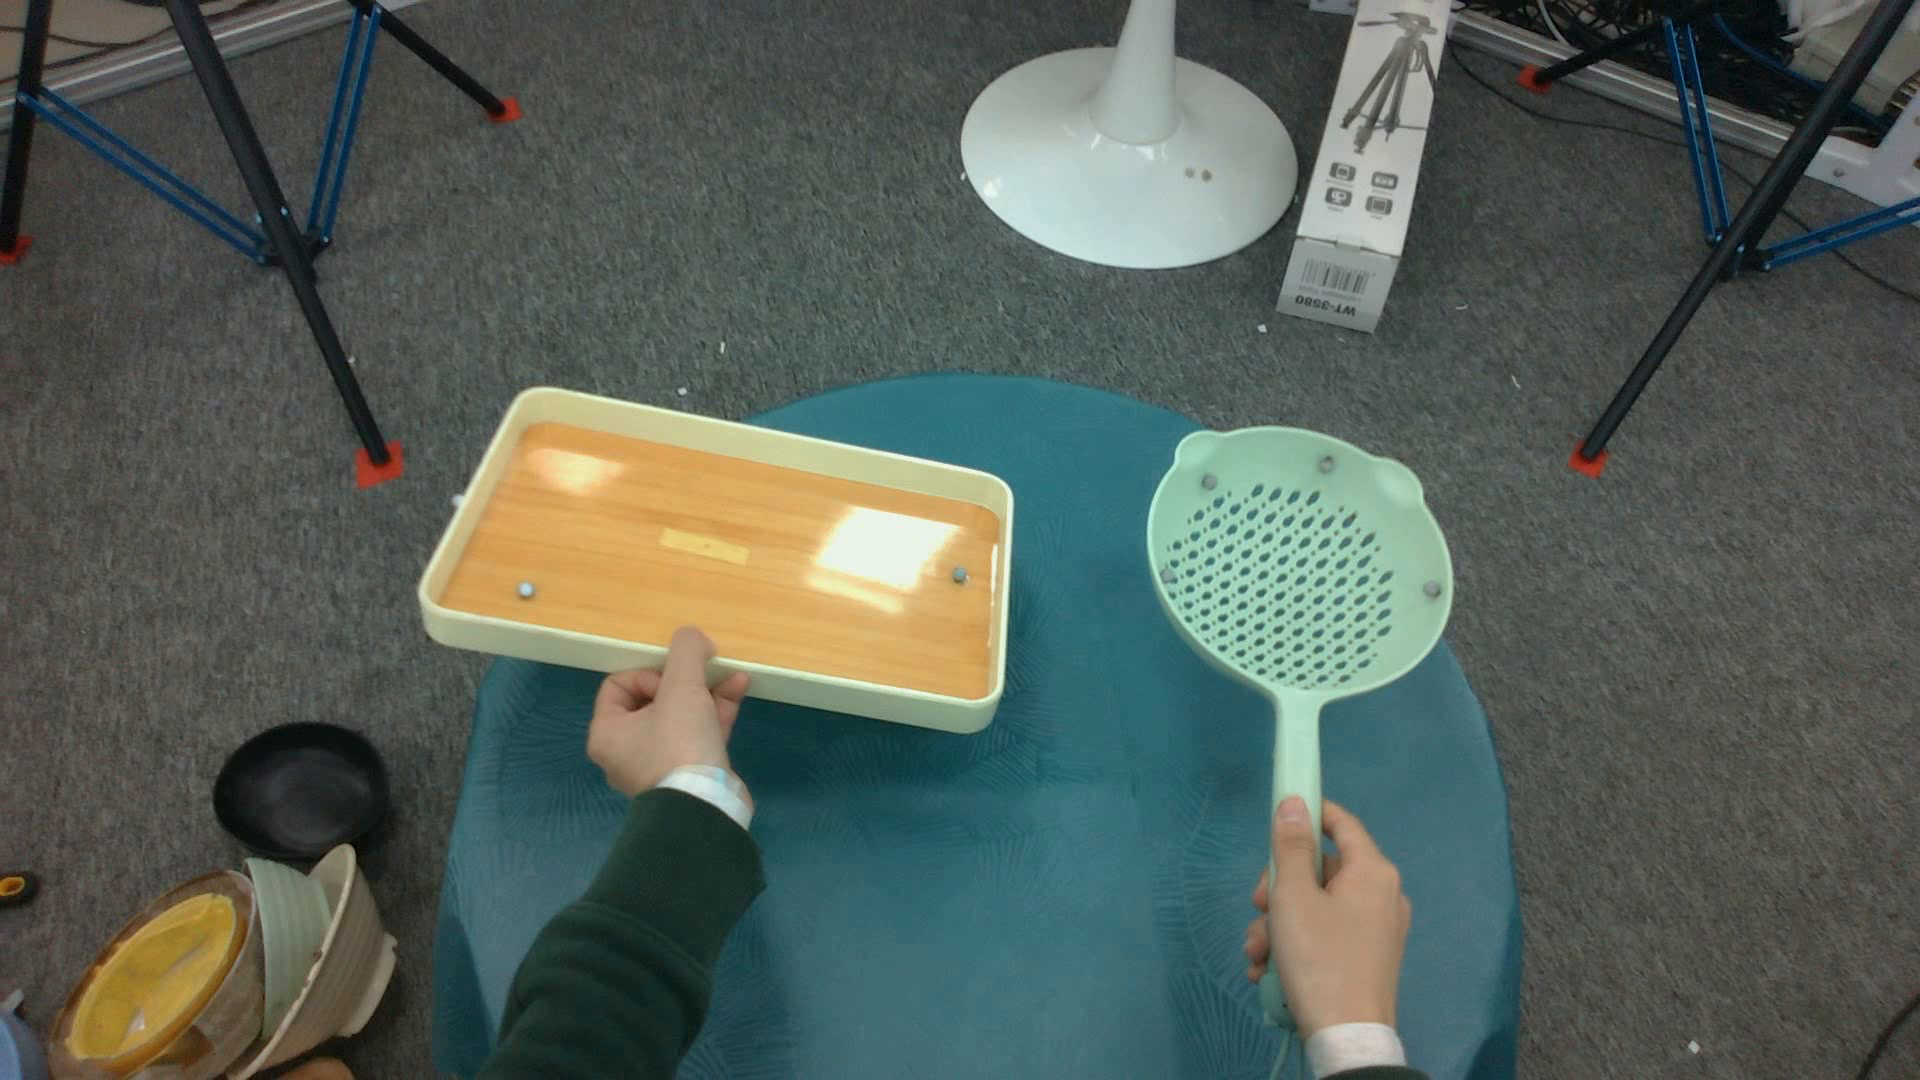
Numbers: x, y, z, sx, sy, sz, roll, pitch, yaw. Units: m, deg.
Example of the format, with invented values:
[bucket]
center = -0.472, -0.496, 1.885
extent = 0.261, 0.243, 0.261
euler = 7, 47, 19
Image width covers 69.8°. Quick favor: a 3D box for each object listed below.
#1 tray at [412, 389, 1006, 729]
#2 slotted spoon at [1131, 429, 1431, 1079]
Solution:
[tray]
center = -0.126, 0.005, 0.771
extent = 0.300, 0.027, 0.192
euler = 10, 41, -4
[slotted spoon]
center = 0.163, 0.093, 0.714
extent = 0.169, 0.075, 0.360
euler = 9, 48, 0
